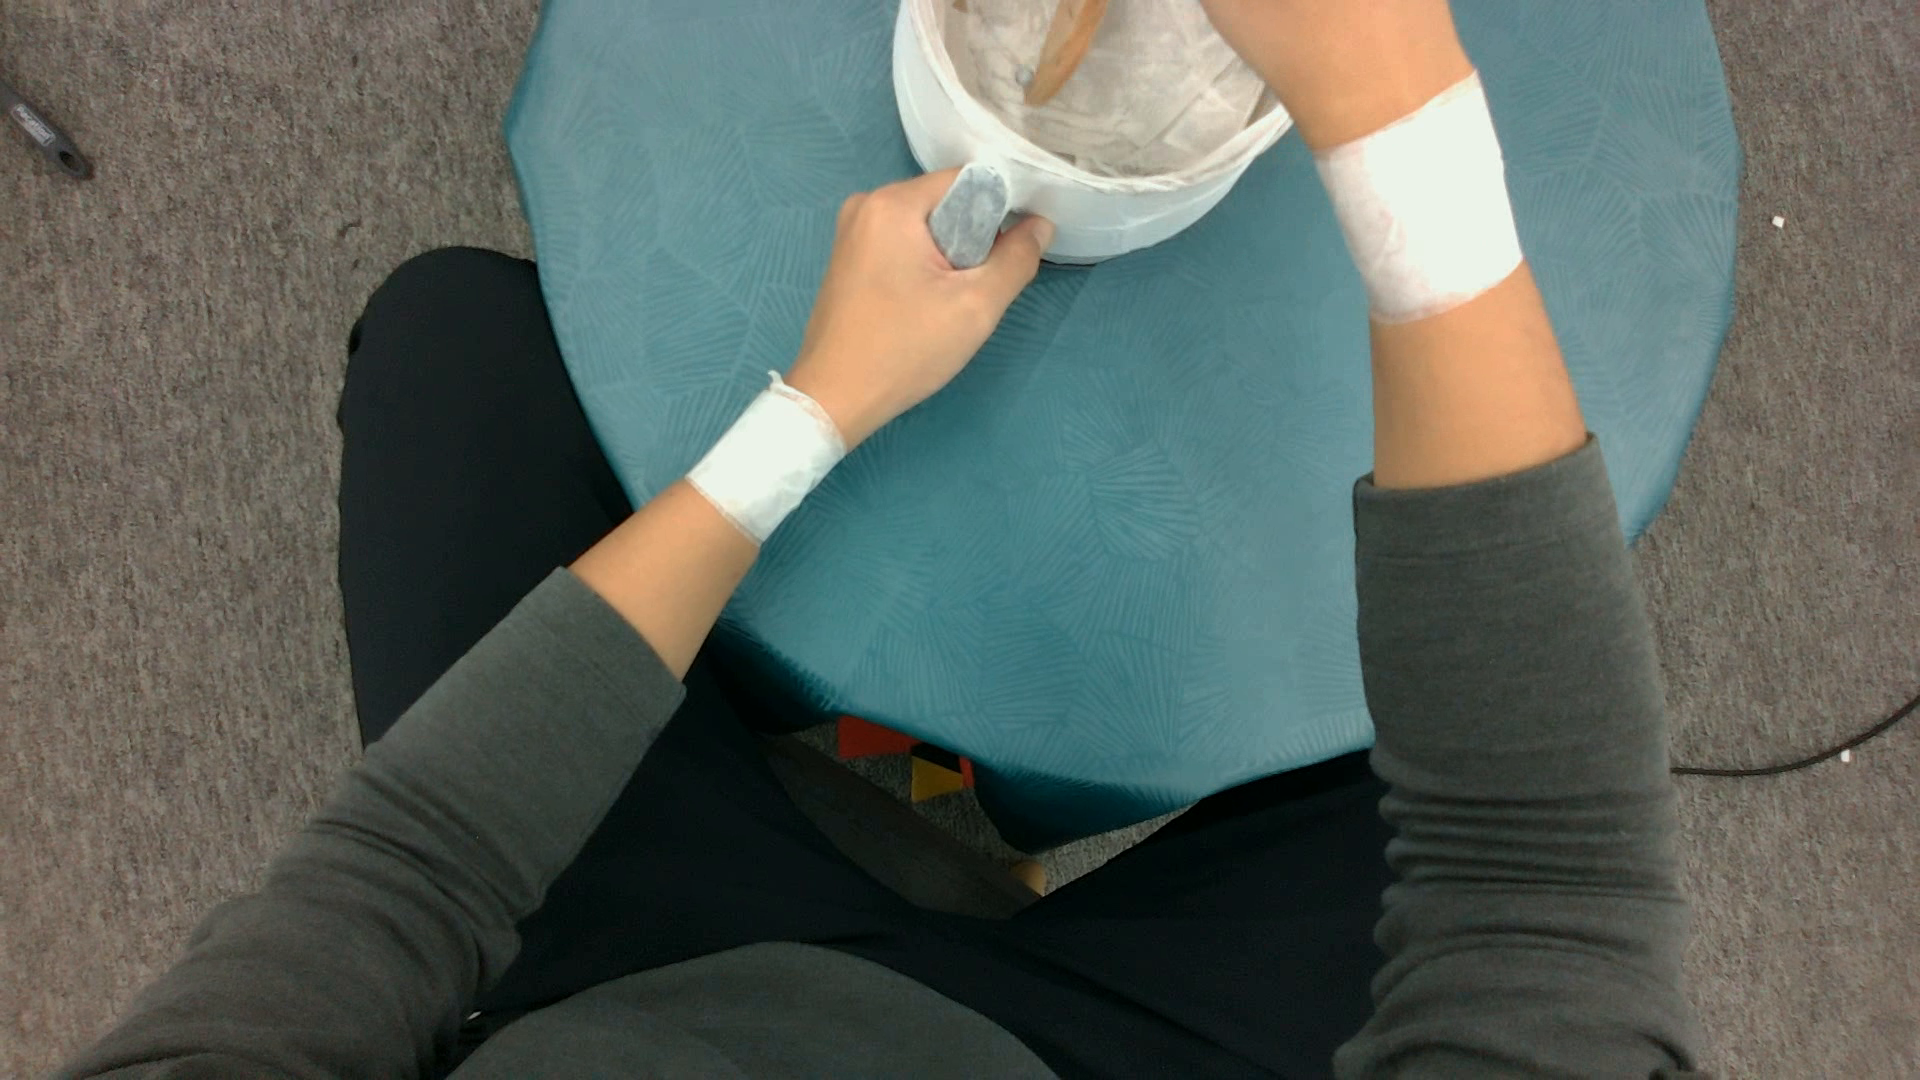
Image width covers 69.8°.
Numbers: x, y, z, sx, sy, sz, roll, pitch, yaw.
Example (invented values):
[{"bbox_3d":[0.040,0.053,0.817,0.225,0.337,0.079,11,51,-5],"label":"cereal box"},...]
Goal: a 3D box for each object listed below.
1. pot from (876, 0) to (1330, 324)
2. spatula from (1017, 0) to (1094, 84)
[{"bbox_3d":[0.041,-0.202,0.603,0.179,0.136,0.234,32,85,-3],"label":"pot"},{"bbox_3d":[0.063,-0.229,0.422,0.018,0.390,0.096,17,91,-6],"label":"spatula"}]
